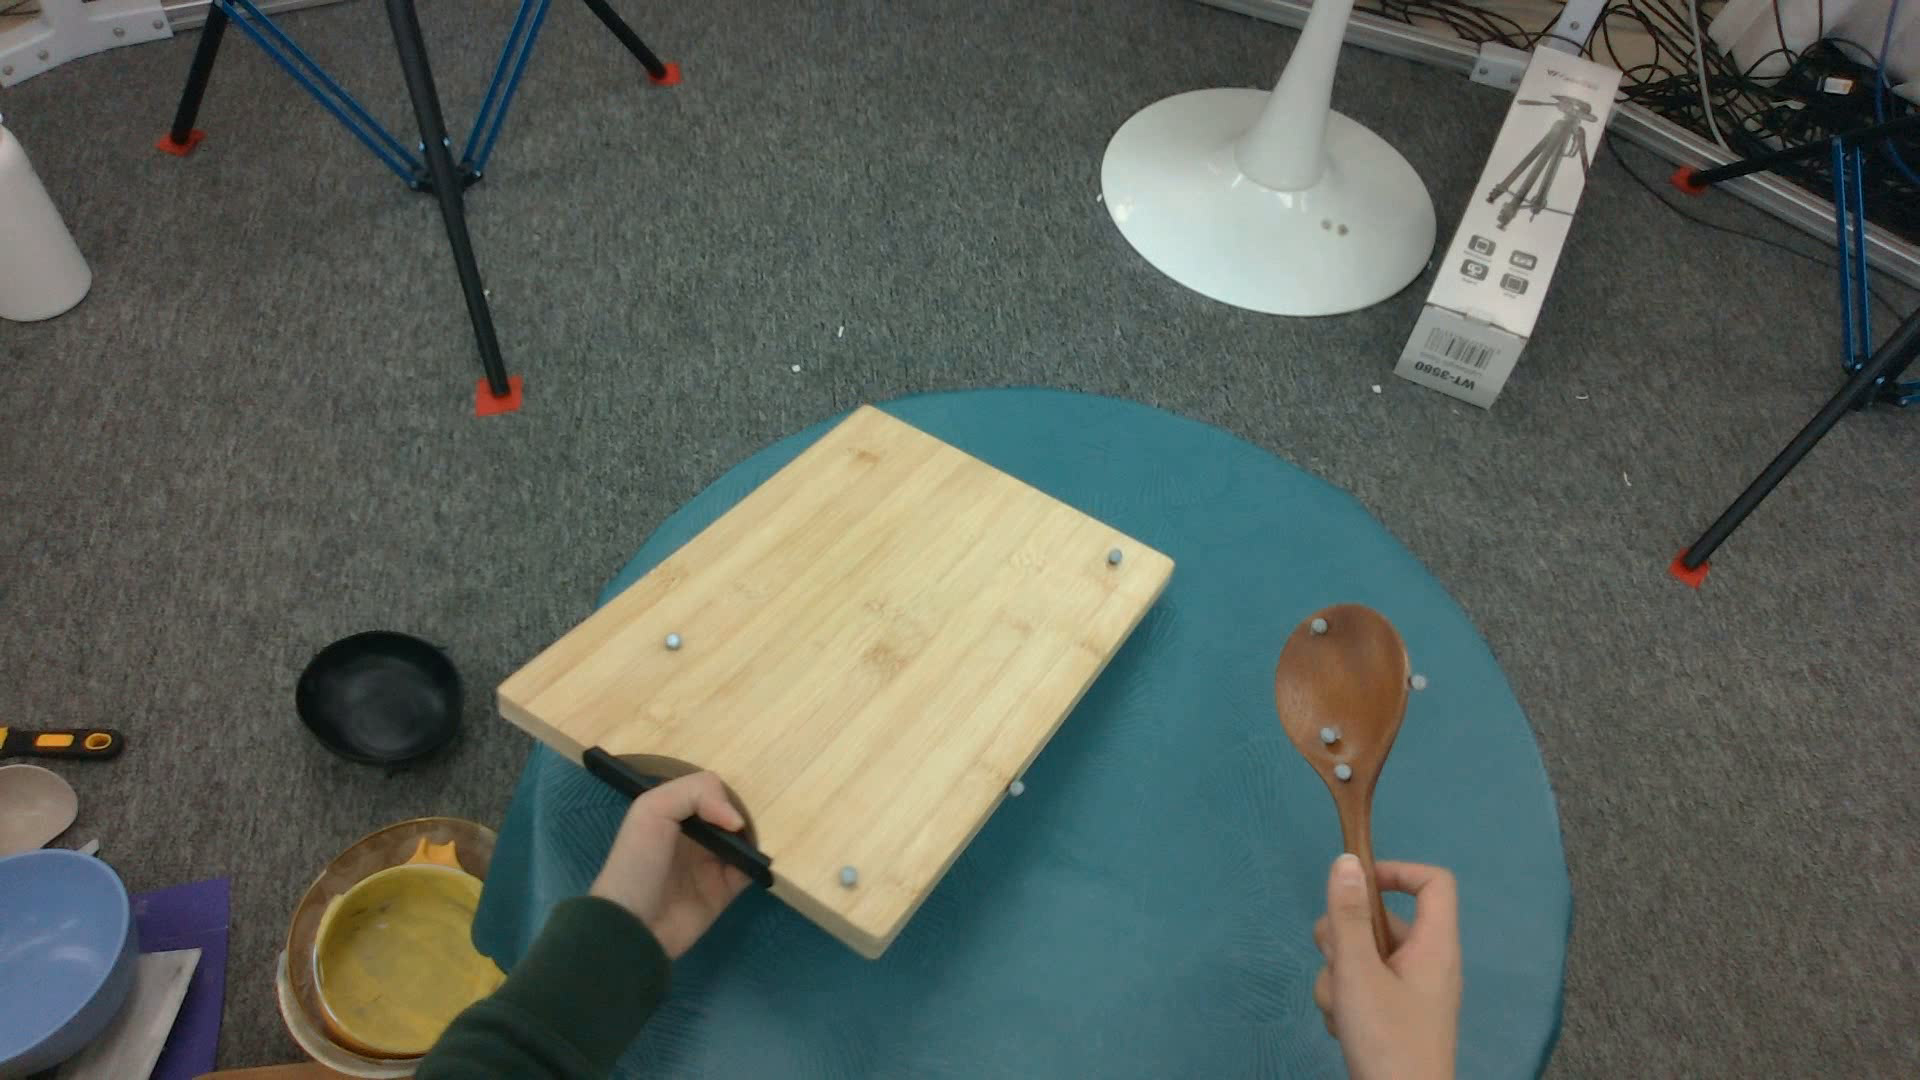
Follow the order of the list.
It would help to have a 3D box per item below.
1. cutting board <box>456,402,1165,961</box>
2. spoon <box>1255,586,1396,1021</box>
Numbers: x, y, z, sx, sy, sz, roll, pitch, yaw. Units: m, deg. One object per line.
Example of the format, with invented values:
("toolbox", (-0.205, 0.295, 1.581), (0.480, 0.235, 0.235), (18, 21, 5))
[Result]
("cutting board", (-0.062, 0.050, 0.780), (0.250, 0.023, 0.350), (28, 42, 18))
("spoon", (0.186, 0.123, 0.676), (0.075, 0.017, 0.216), (-19, 55, 34))
